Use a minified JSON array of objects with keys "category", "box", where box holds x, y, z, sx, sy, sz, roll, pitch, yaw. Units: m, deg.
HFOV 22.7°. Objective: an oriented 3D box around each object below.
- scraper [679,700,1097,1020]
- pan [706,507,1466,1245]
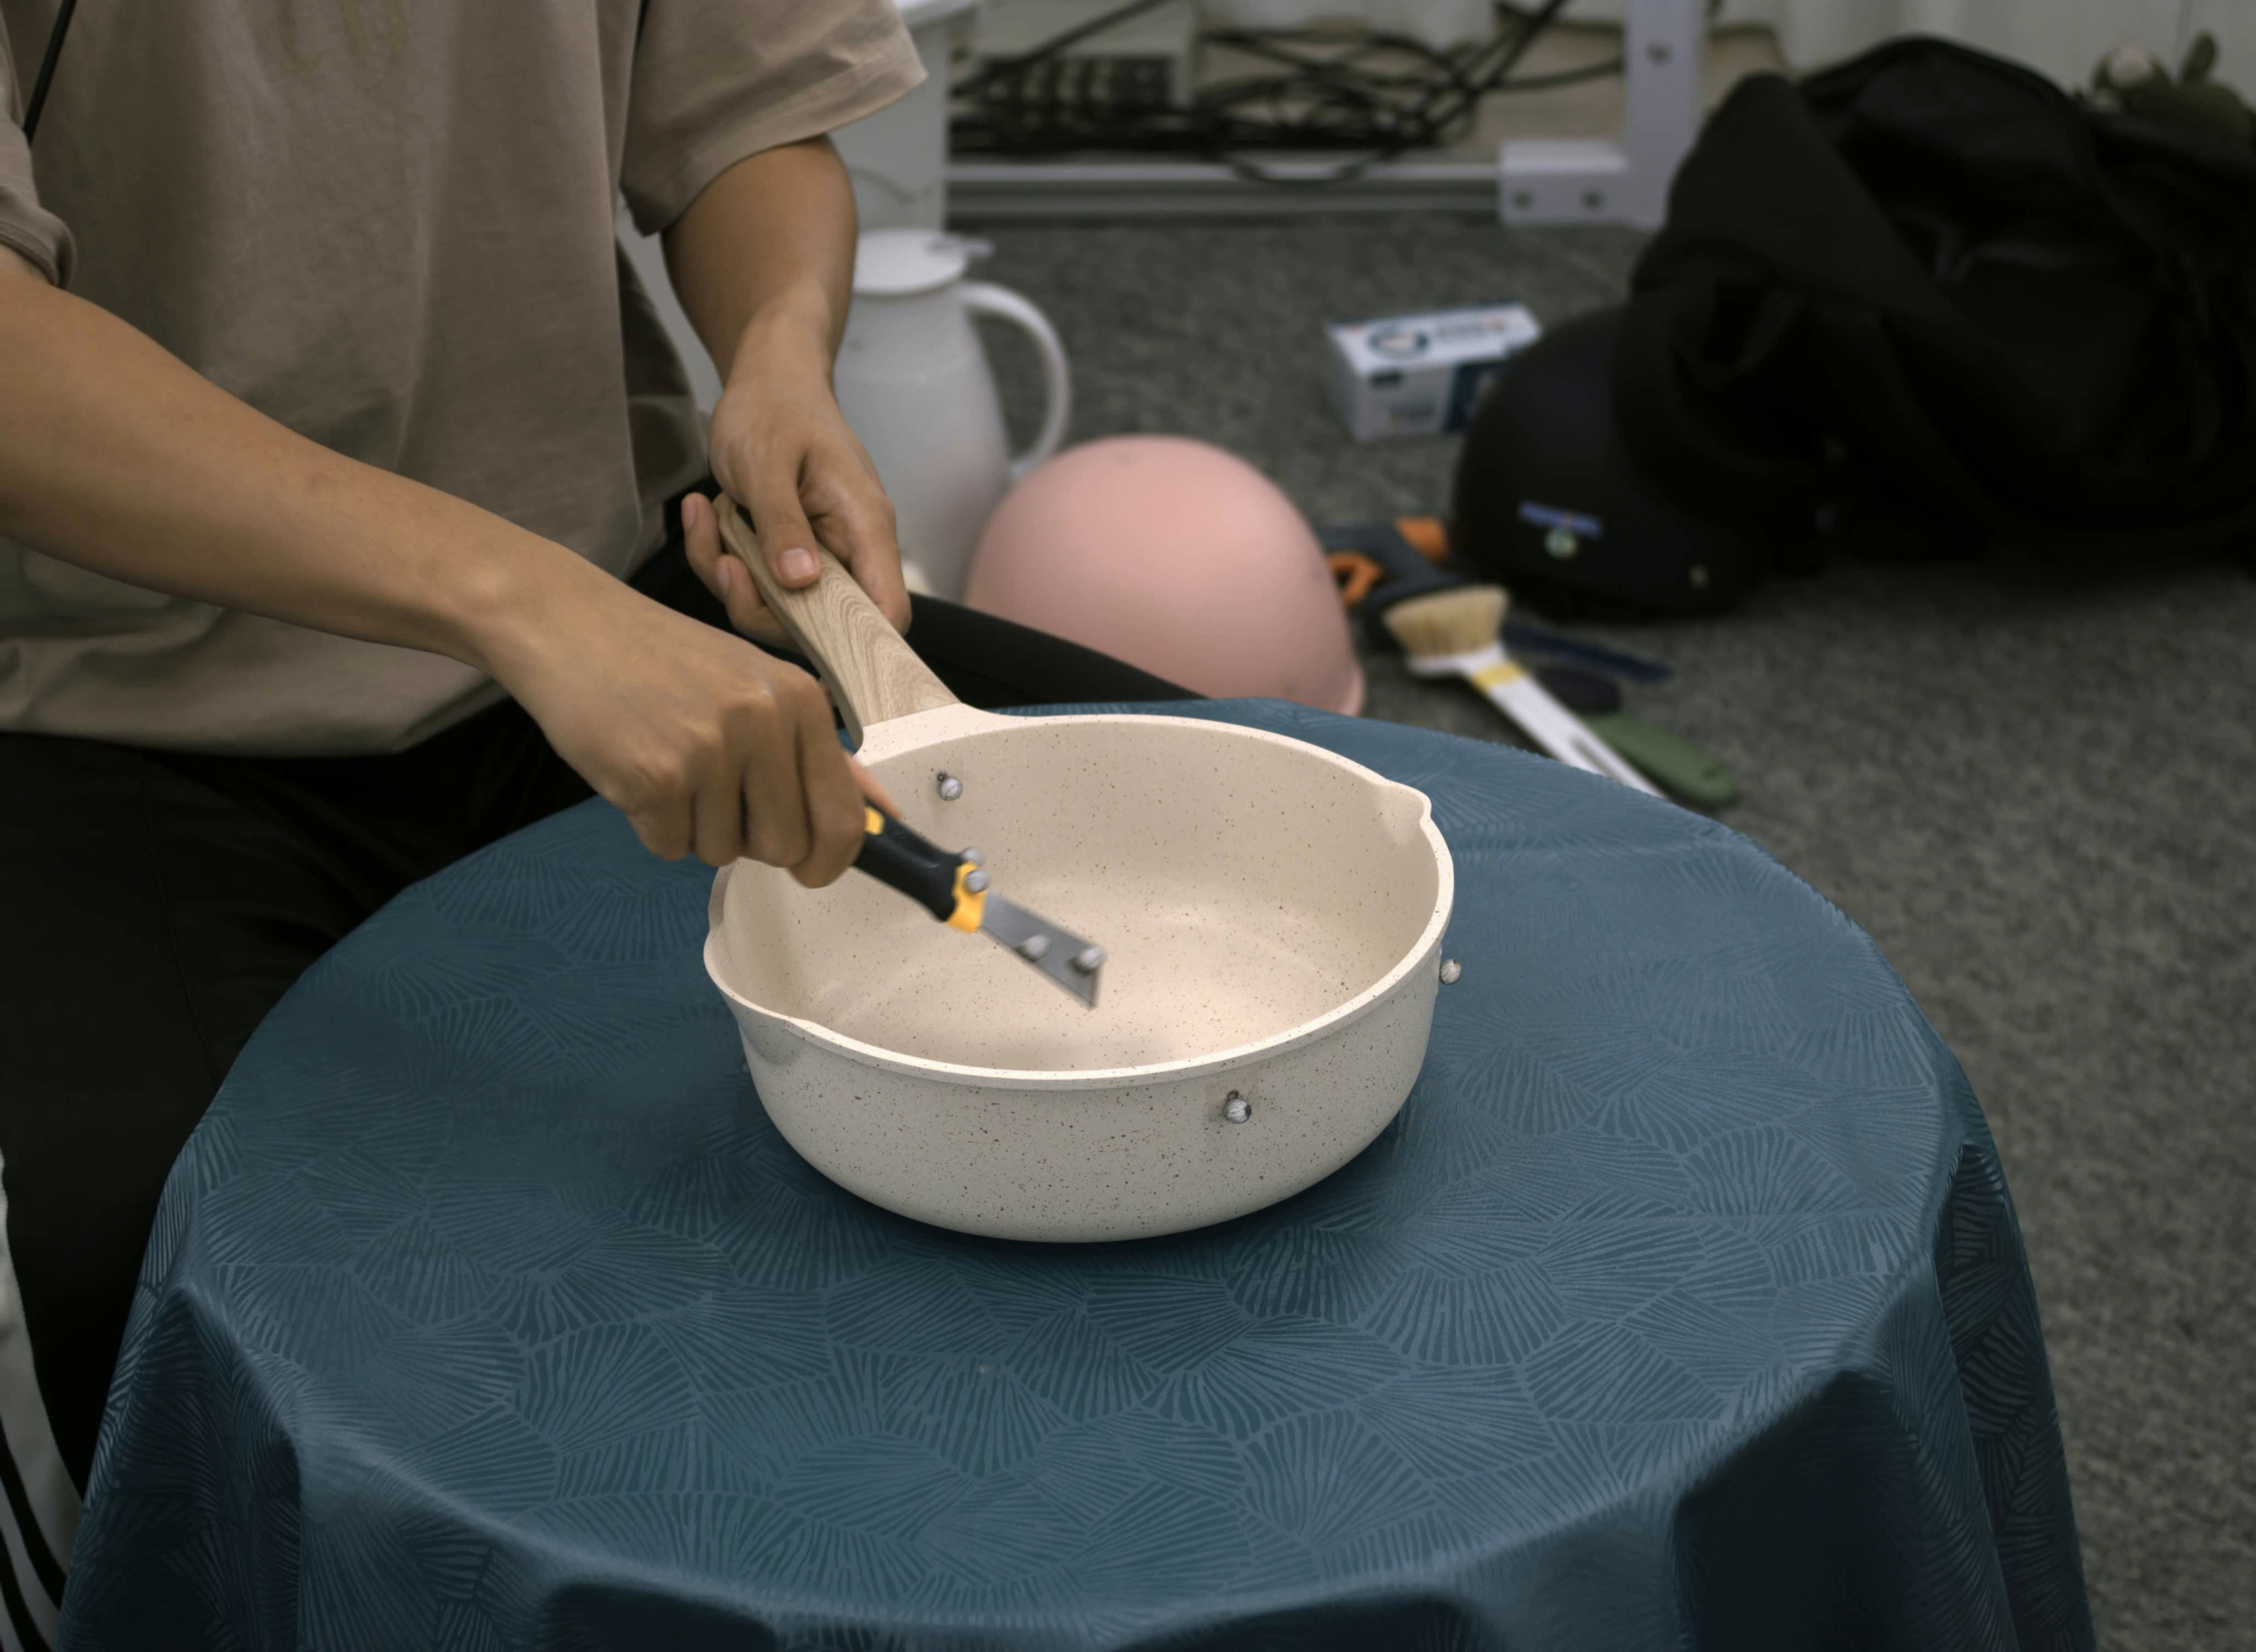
[{"category":"scraper","box":[-0.079,0.011,1.878,0.170,0.014,0.039,34,36,-20]},{"category":"pan","box":[-0.049,0.011,1.976,0.264,0.101,0.437,-17,31,-20]}]
